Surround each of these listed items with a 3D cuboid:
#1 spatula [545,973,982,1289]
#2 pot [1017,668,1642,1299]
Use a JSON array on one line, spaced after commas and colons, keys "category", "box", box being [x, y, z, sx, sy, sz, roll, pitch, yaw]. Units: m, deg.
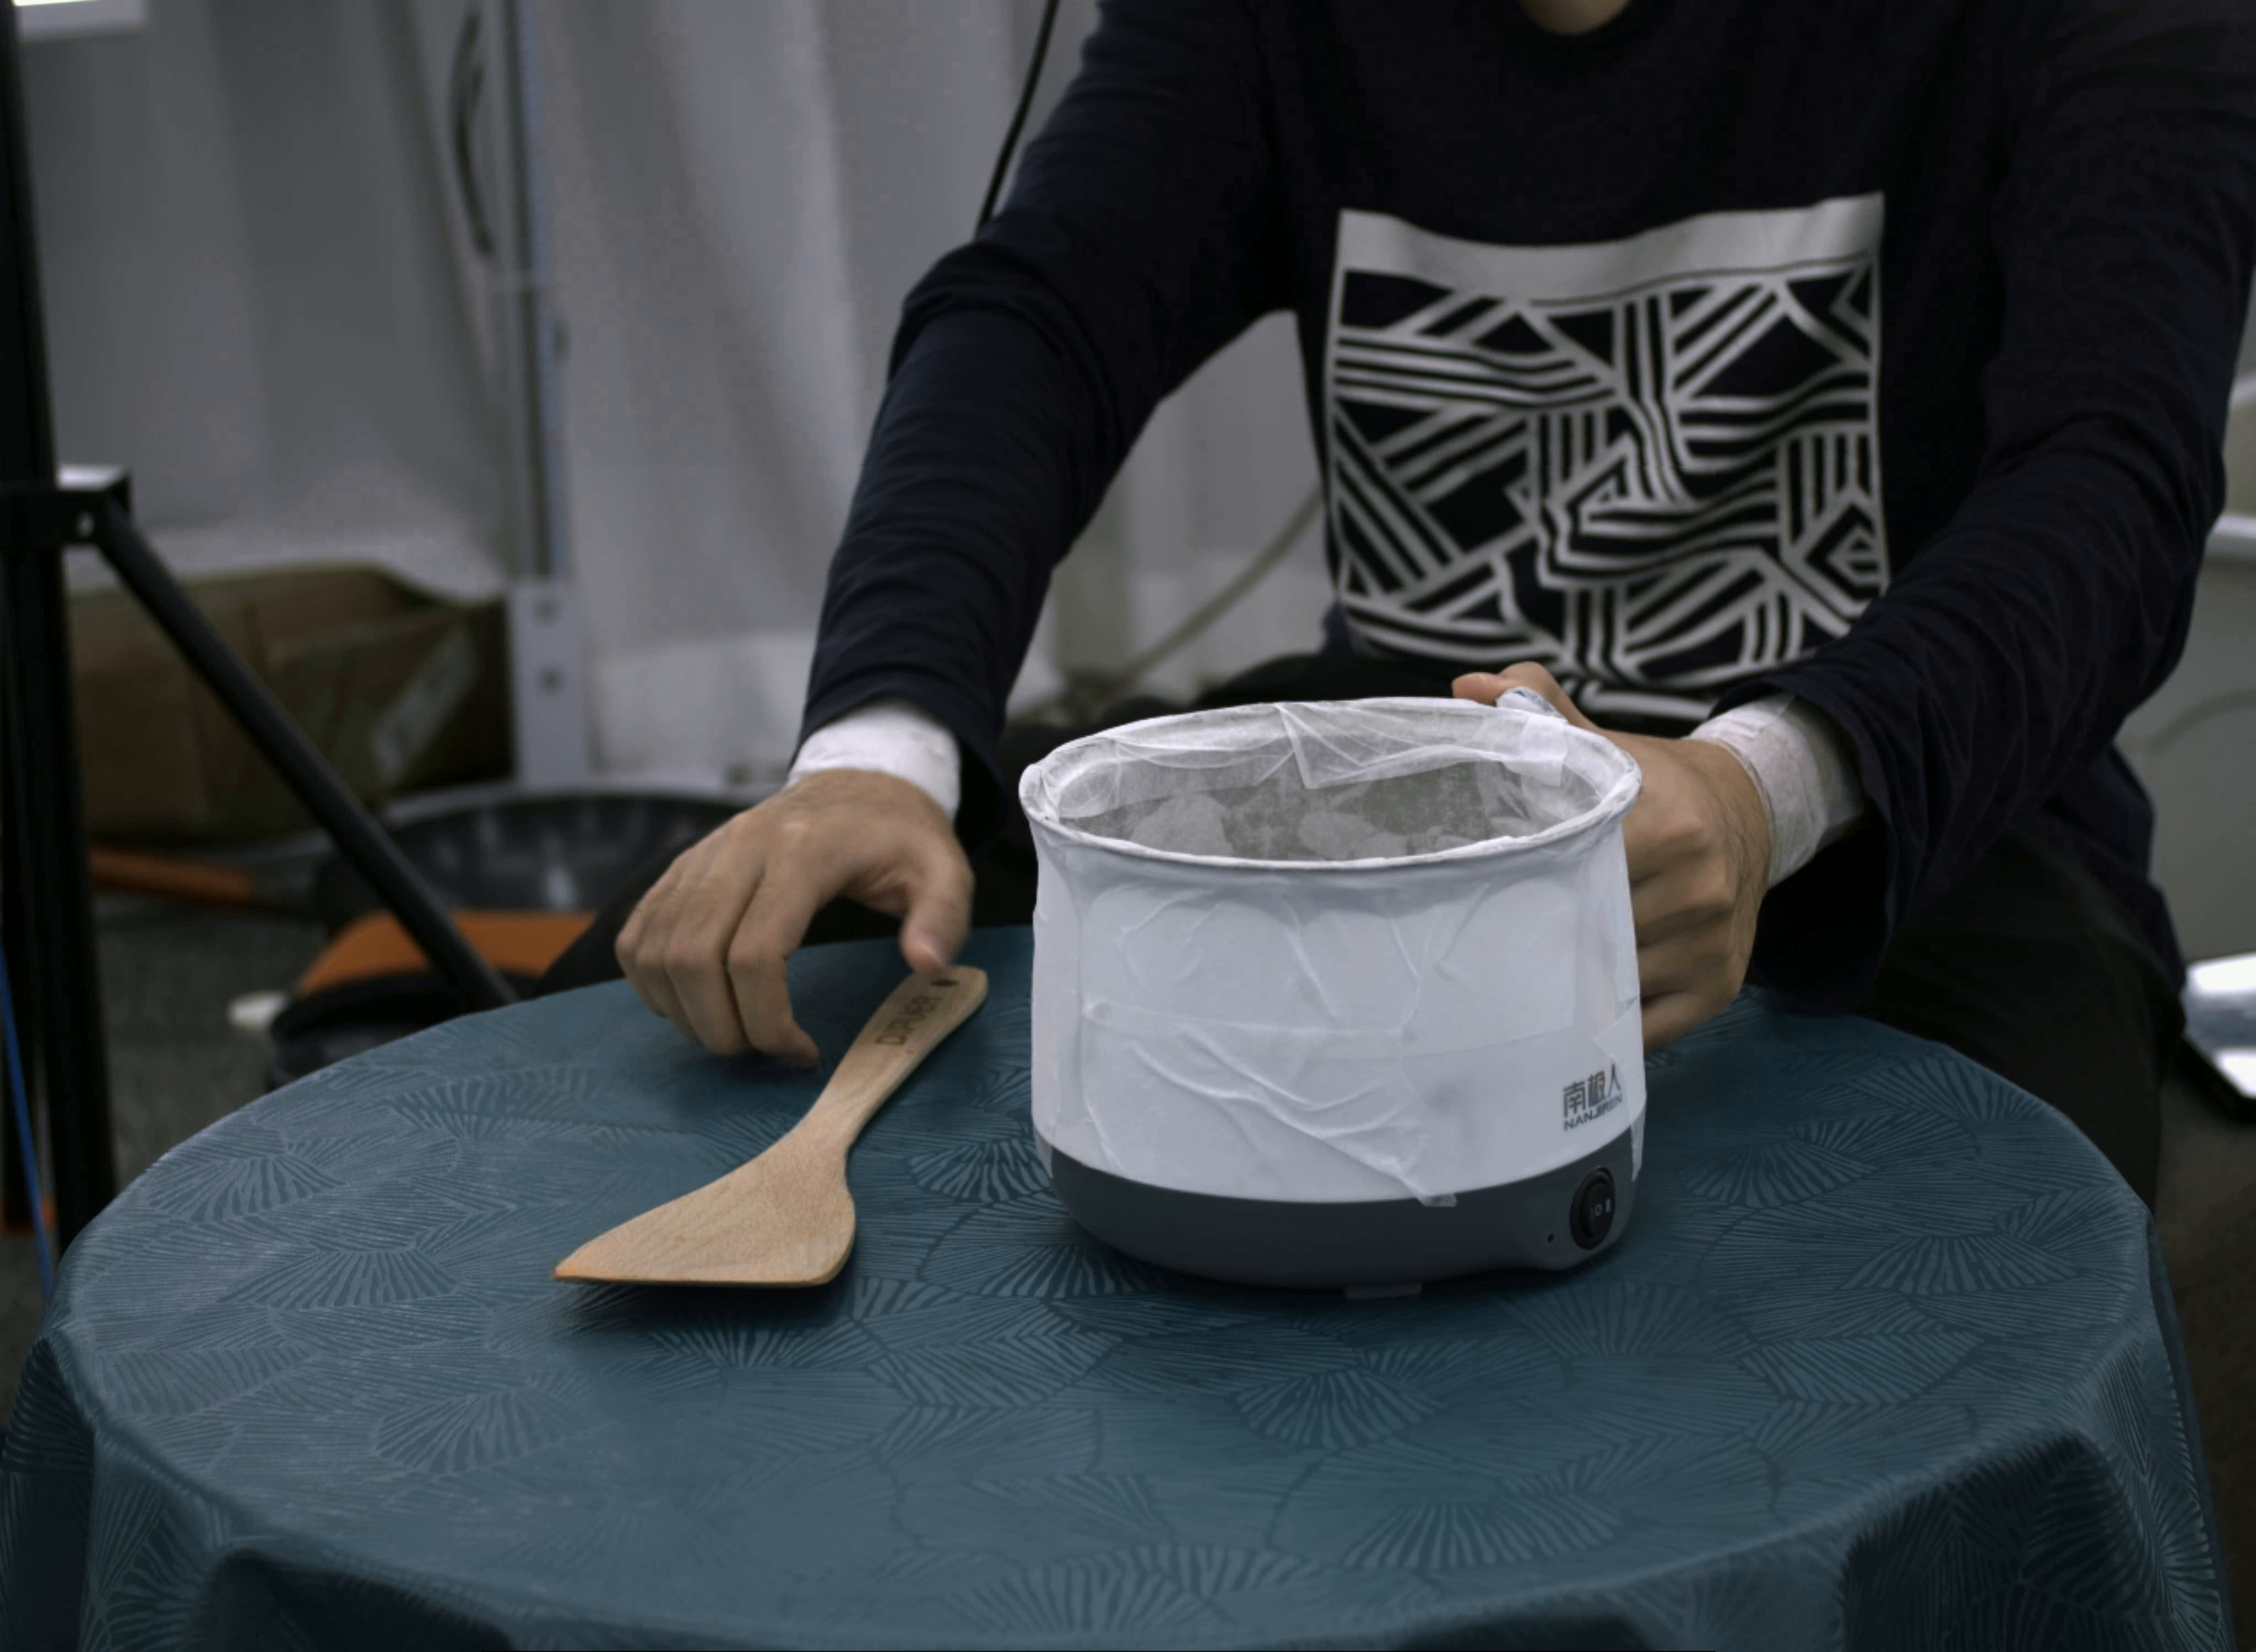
[{"category": "spatula", "box": [-0.091, 0.090, 1.612, 0.080, 0.016, 0.325, 2, 16, 12]}, {"category": "pot", "box": [0.074, 0.038, 1.536, 0.182, 0.136, 0.229, 10, 22, 35]}]
